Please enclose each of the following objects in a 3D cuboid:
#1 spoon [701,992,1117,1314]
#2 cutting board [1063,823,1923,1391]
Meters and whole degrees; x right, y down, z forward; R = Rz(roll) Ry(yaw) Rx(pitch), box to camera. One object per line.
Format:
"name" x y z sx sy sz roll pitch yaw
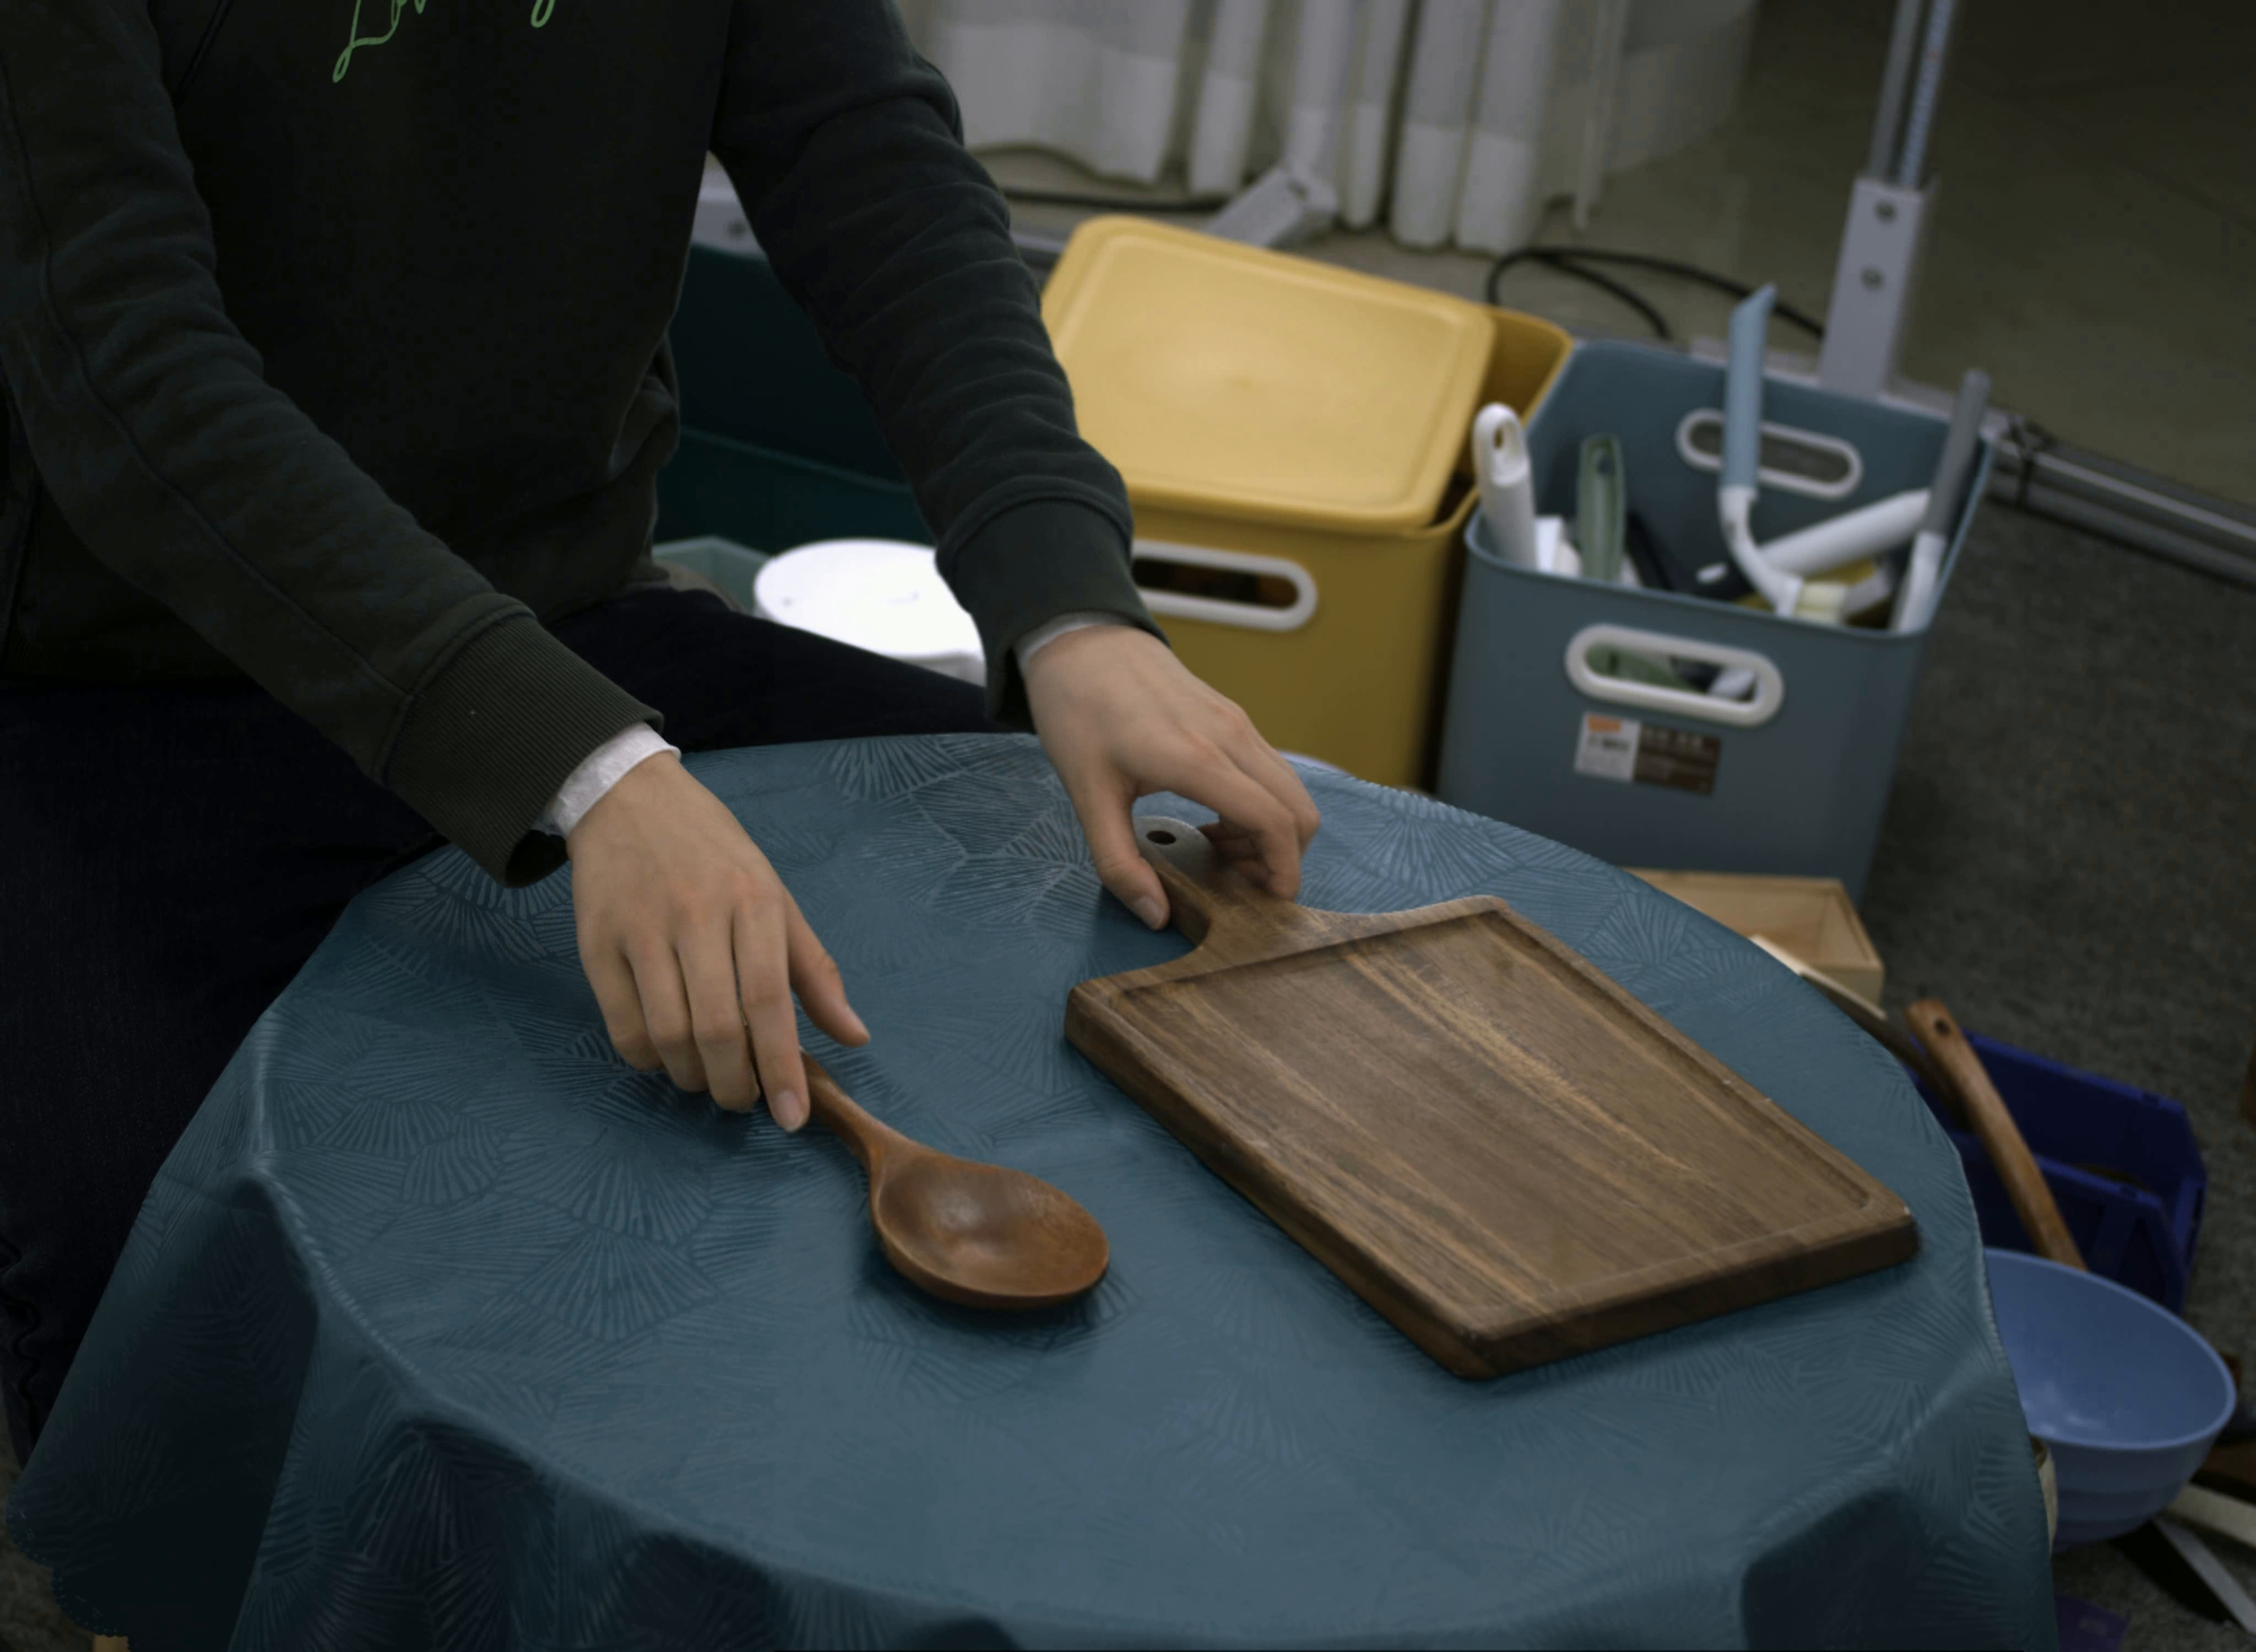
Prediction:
"spoon" -0.081 0.110 1.789 0.075 0.017 0.218 -15 34 -32
"cutting board" 0.097 0.083 1.884 0.200 0.023 0.355 -12 32 -31
